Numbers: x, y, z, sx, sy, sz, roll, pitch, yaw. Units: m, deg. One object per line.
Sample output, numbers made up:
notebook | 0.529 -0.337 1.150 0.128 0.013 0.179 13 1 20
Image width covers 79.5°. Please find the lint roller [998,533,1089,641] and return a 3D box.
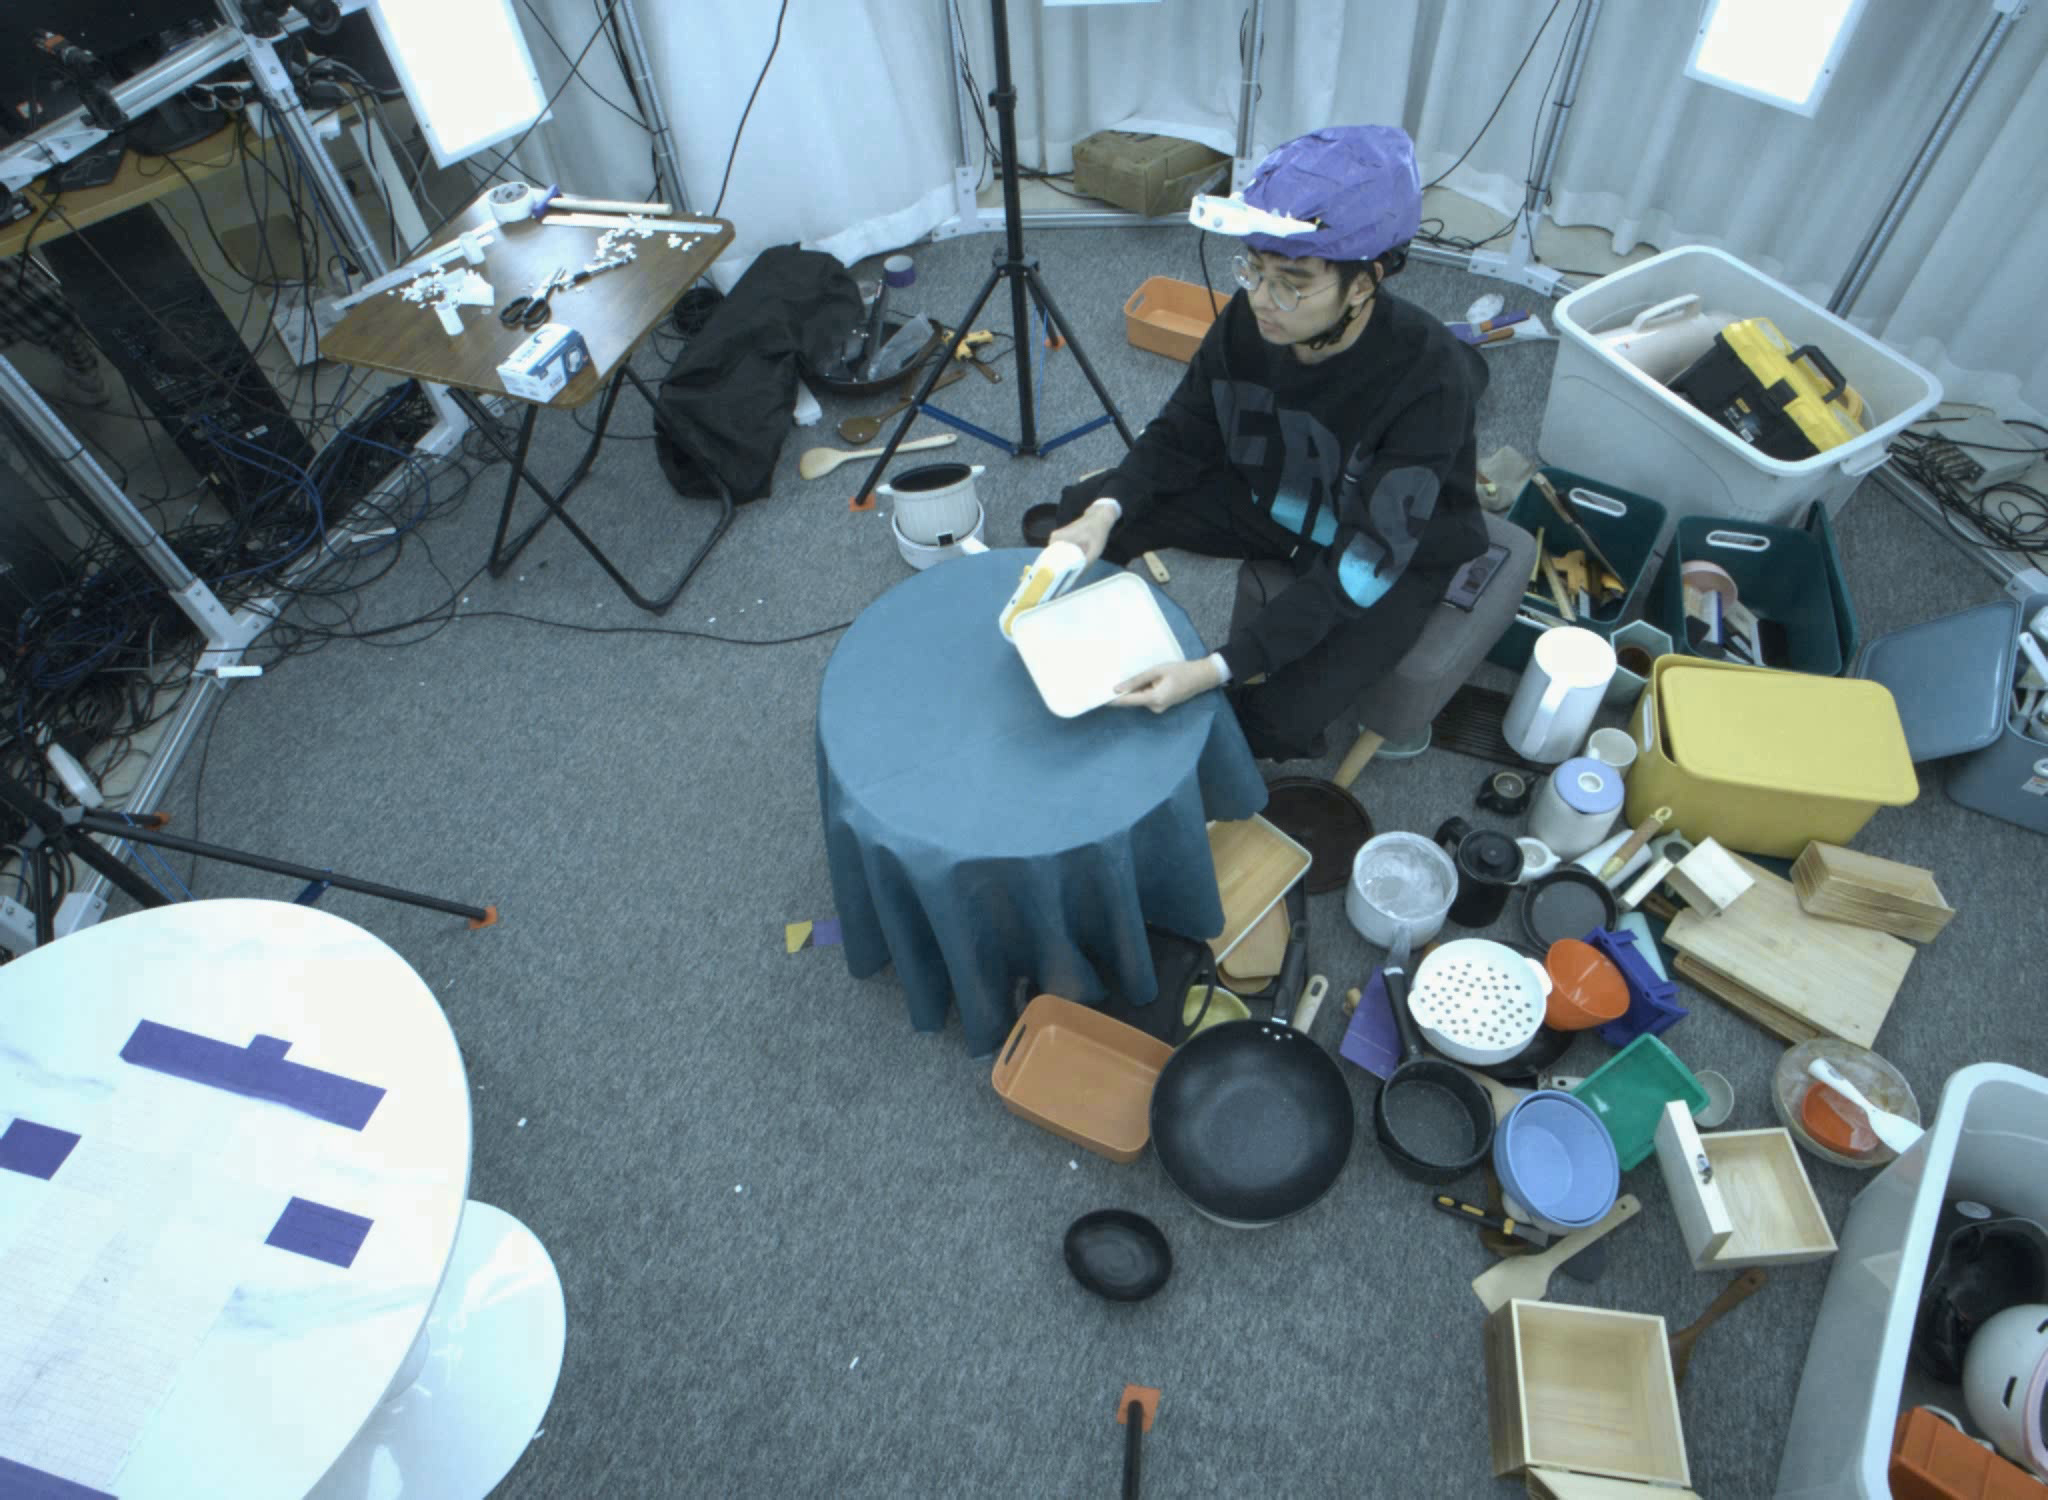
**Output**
lint roller | 0.051 -0.262 1.837 0.073 0.192 0.194 42 40 11

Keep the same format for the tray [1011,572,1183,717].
tray | 0.106 -0.155 1.787 0.242 0.017 0.170 -24 84 -25
